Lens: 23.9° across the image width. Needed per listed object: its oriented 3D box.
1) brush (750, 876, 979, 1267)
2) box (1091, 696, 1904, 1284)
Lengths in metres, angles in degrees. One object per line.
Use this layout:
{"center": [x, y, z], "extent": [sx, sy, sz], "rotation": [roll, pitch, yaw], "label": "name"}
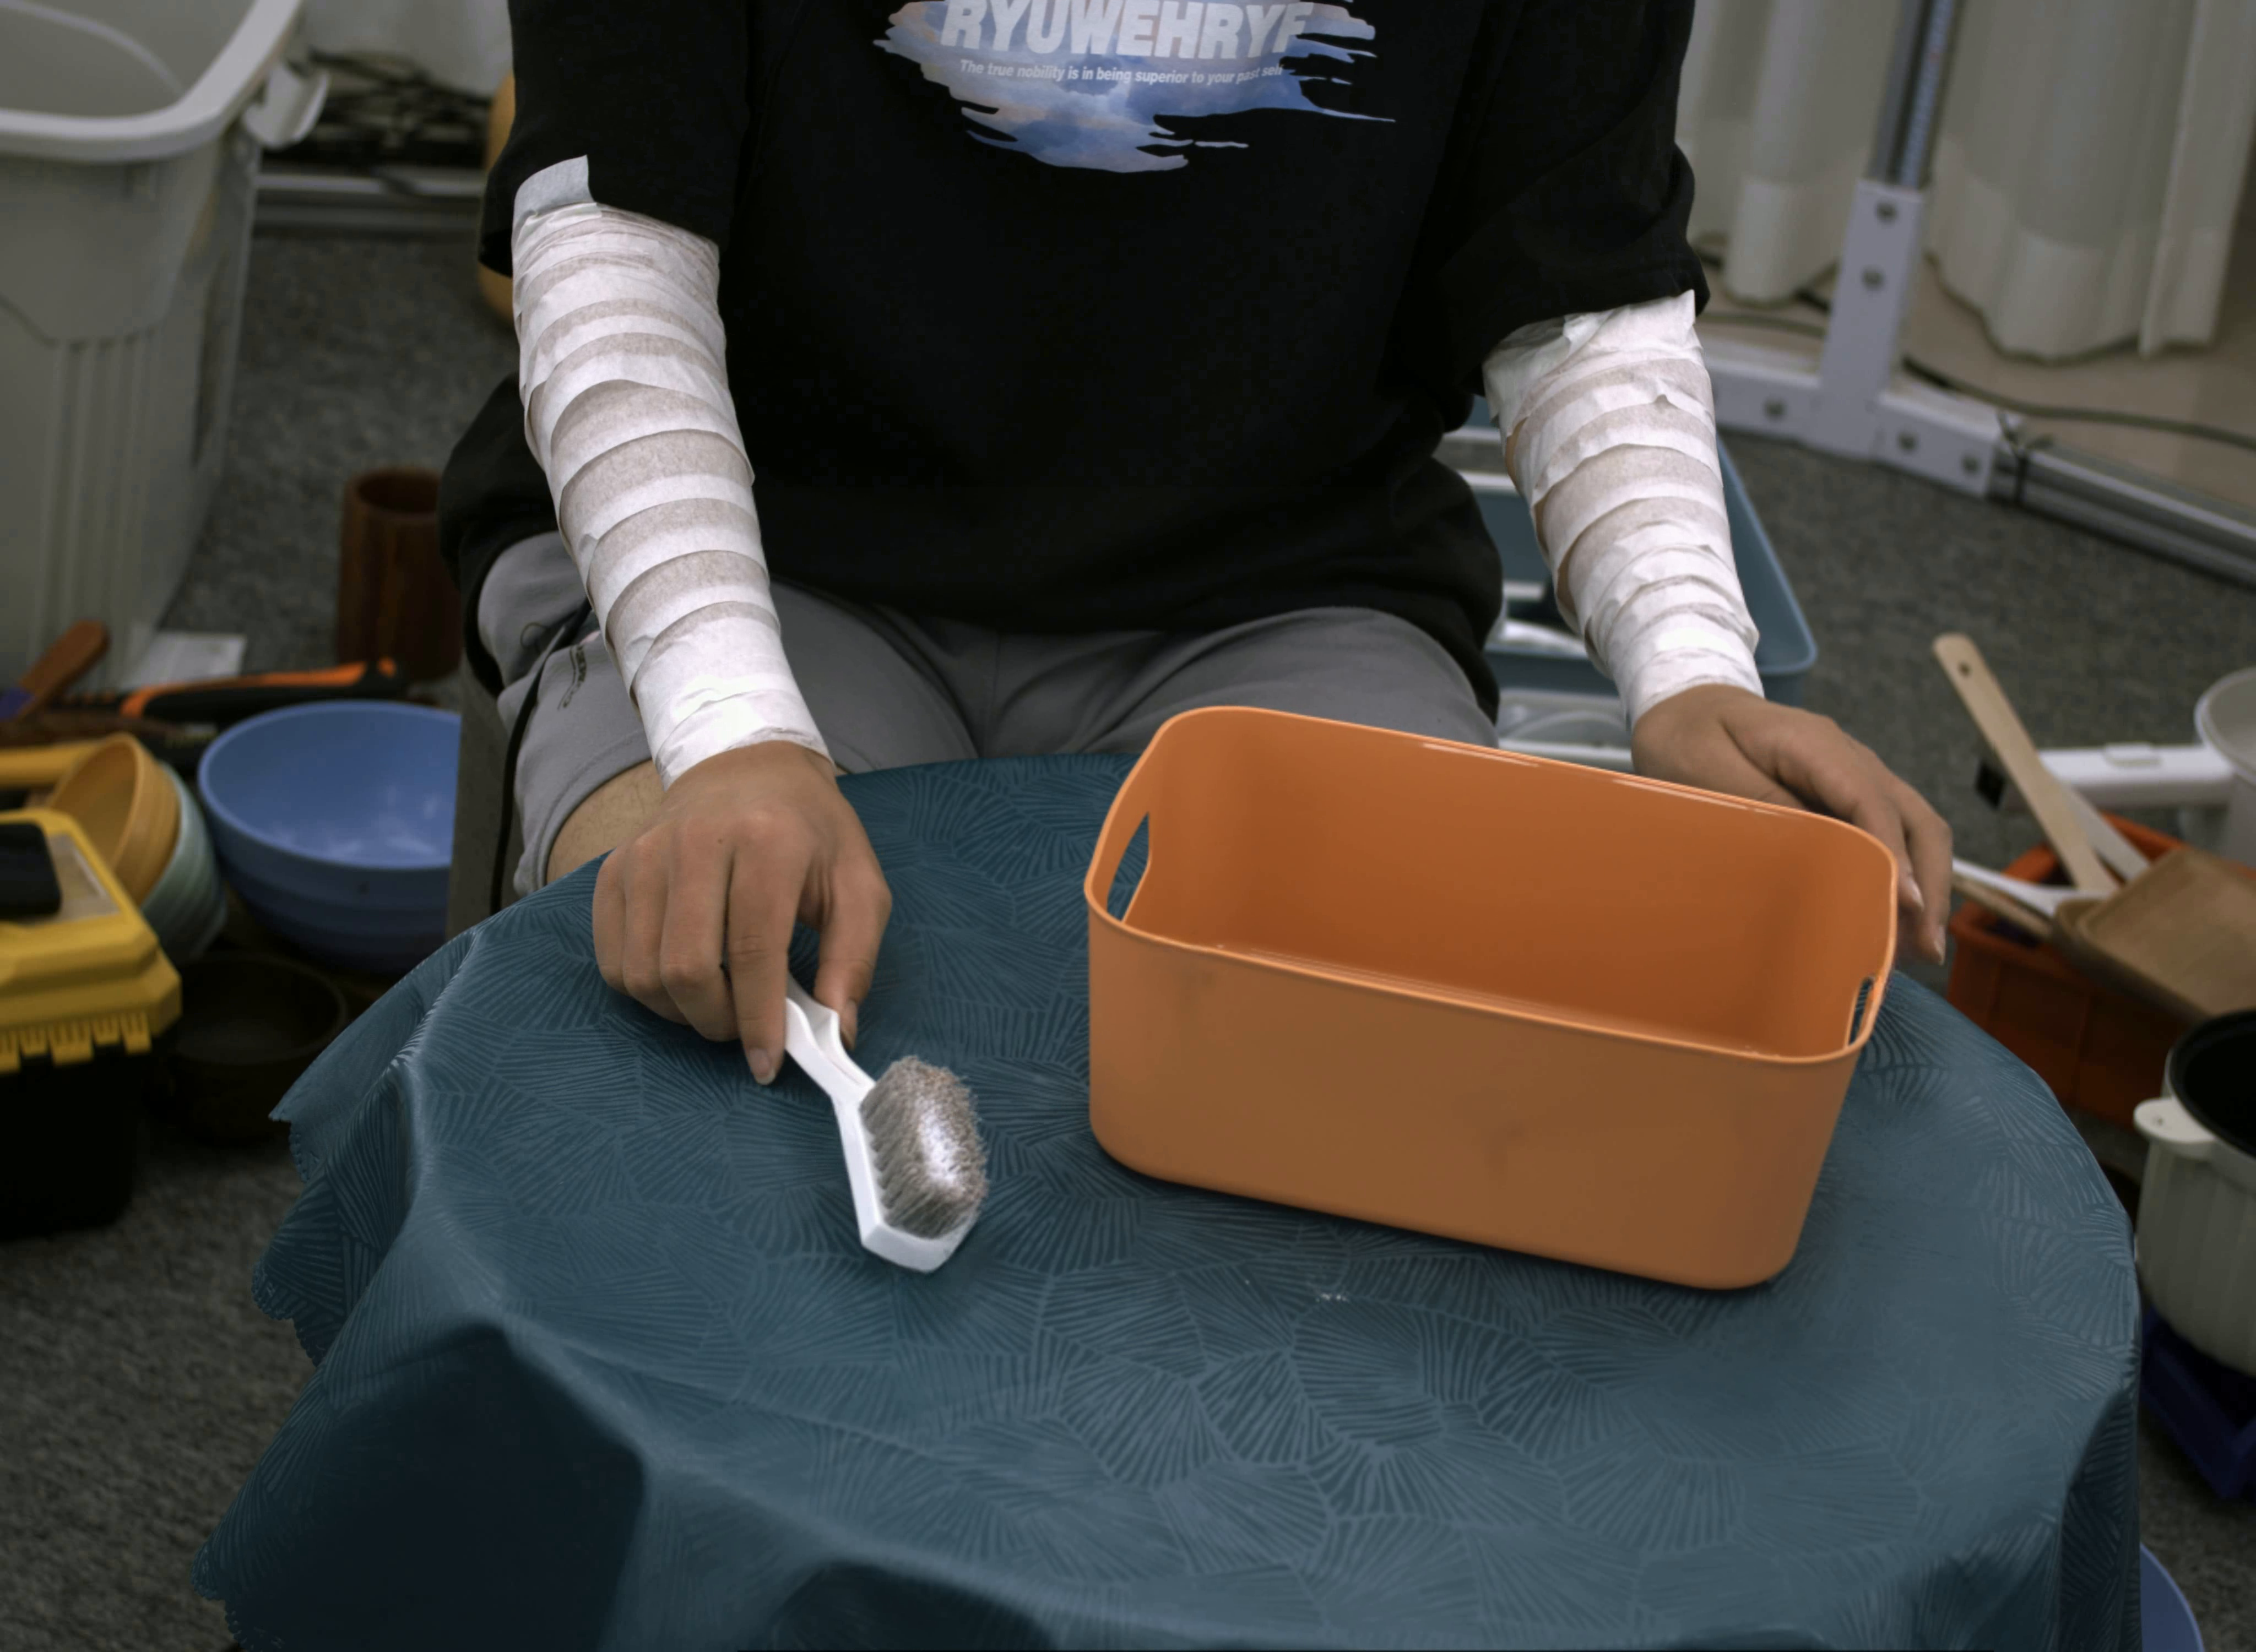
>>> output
{"center": [-0.092, 0.067, 1.822], "extent": [0.034, 0.050, 0.246], "rotation": [15, 25, -23], "label": "brush"}
{"center": [0.124, 0.057, 1.845], "extent": [0.273, 0.102, 0.200], "rotation": [11, 28, 8], "label": "box"}
